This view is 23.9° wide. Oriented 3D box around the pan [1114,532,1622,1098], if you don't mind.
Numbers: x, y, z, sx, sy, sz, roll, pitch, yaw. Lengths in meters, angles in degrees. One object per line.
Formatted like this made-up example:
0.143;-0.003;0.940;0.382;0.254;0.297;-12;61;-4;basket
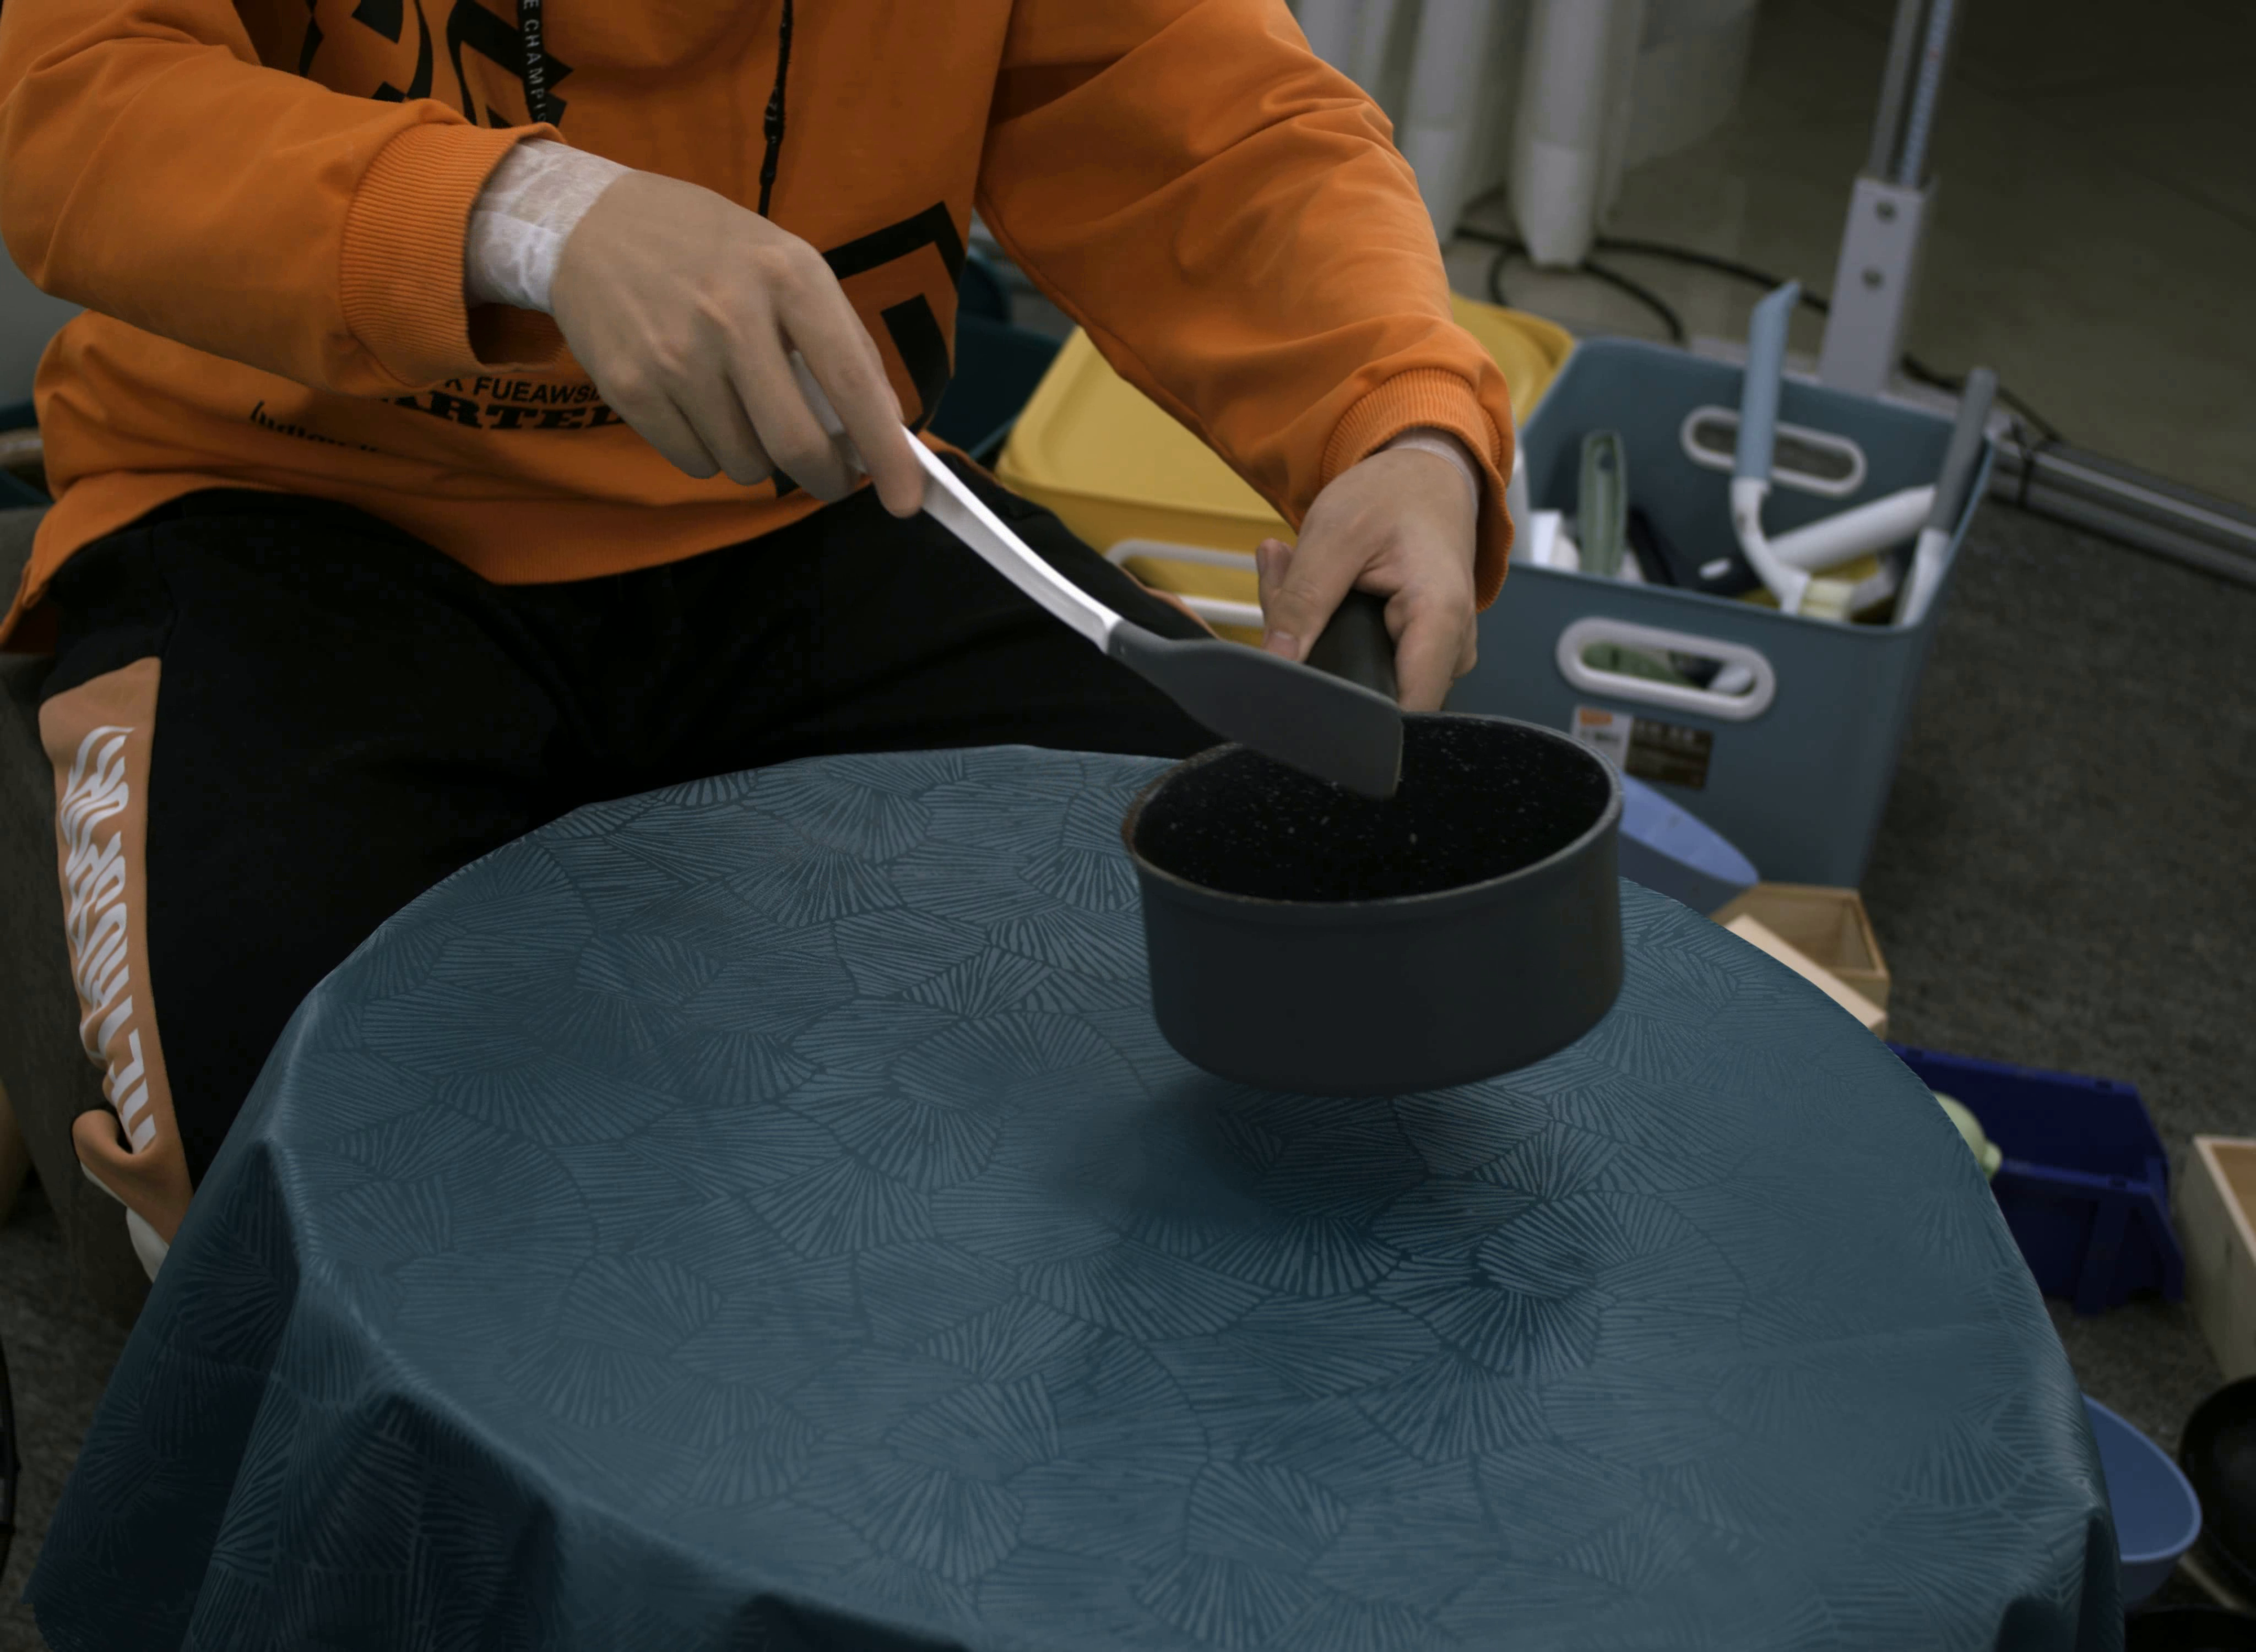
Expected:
0.086;-0.007;1.888;0.171;0.086;0.330;-4;23;4;pan

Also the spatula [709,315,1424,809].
-0.023;-0.089;1.807;0.289;0.058;0.032;33;51;18;spatula
